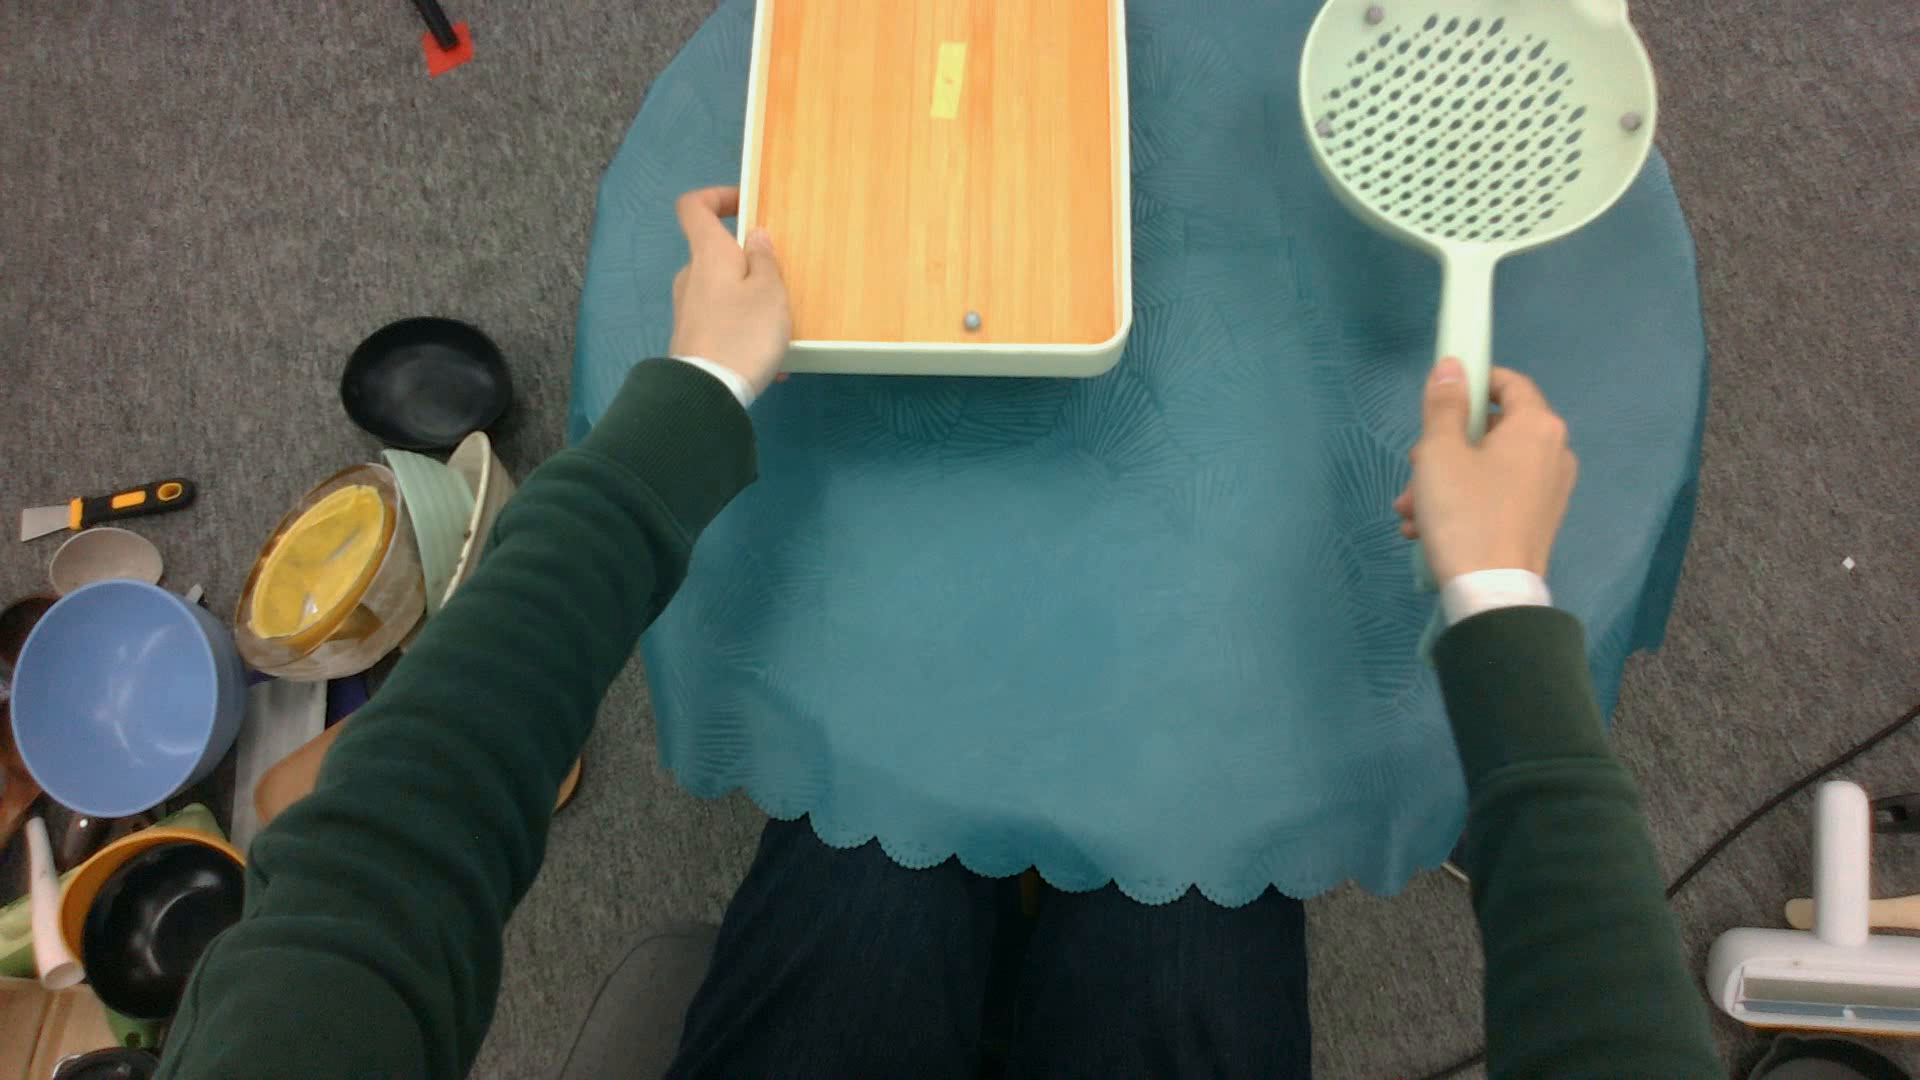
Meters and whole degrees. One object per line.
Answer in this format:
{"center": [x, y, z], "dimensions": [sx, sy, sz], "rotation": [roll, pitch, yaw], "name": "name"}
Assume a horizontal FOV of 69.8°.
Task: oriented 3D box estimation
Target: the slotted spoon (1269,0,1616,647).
{"center": [0.224, -0.129, 0.654], "dimensions": [0.169, 0.075, 0.360], "rotation": [6, 64, 4], "name": "slotted spoon"}

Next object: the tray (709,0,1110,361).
{"center": [-0.023, -0.229, 0.712], "dimensions": [0.191, 0.027, 0.301], "rotation": [1, 66, -1], "name": "tray"}
